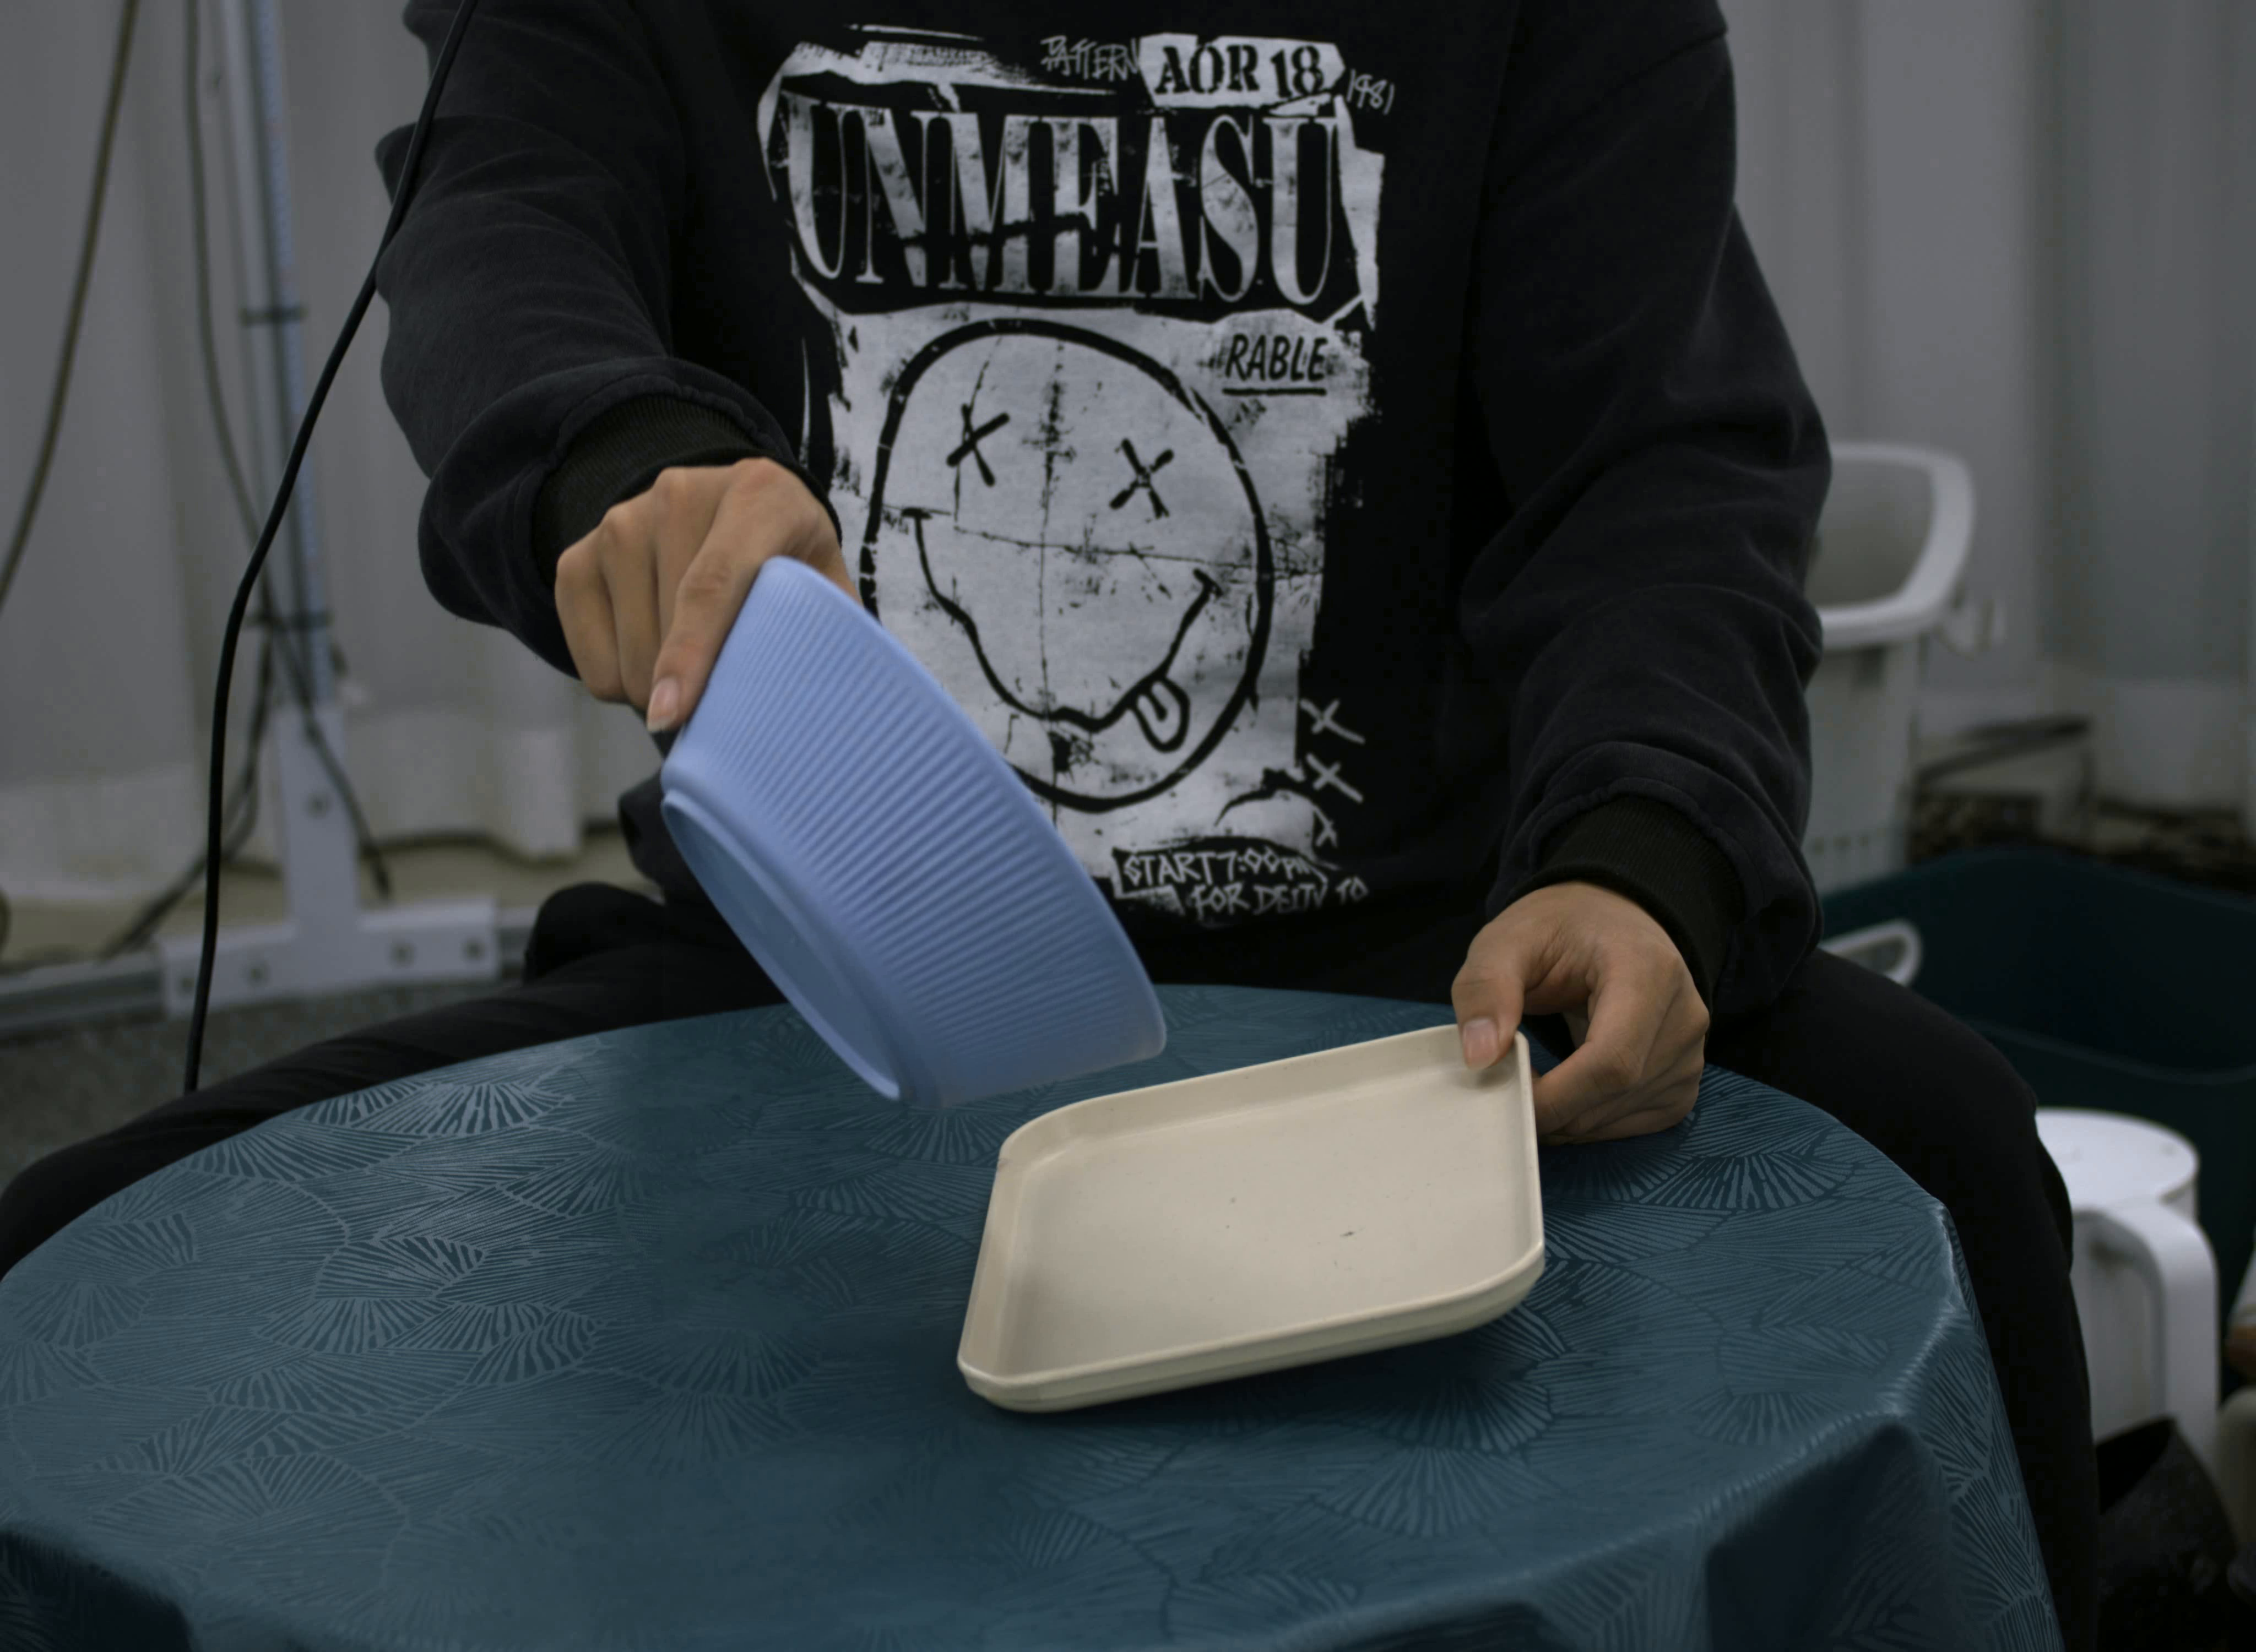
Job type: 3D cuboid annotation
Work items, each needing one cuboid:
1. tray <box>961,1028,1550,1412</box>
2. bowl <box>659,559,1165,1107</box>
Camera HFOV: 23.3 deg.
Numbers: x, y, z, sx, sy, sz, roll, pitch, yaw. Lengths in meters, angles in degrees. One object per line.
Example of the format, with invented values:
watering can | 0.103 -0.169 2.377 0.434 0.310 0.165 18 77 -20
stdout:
tray | 0.040 0.116 1.620 0.171 0.017 0.241 -11 15 6
bowl | -0.071 0.014 1.529 0.070 0.174 0.177 -39 25 -12
